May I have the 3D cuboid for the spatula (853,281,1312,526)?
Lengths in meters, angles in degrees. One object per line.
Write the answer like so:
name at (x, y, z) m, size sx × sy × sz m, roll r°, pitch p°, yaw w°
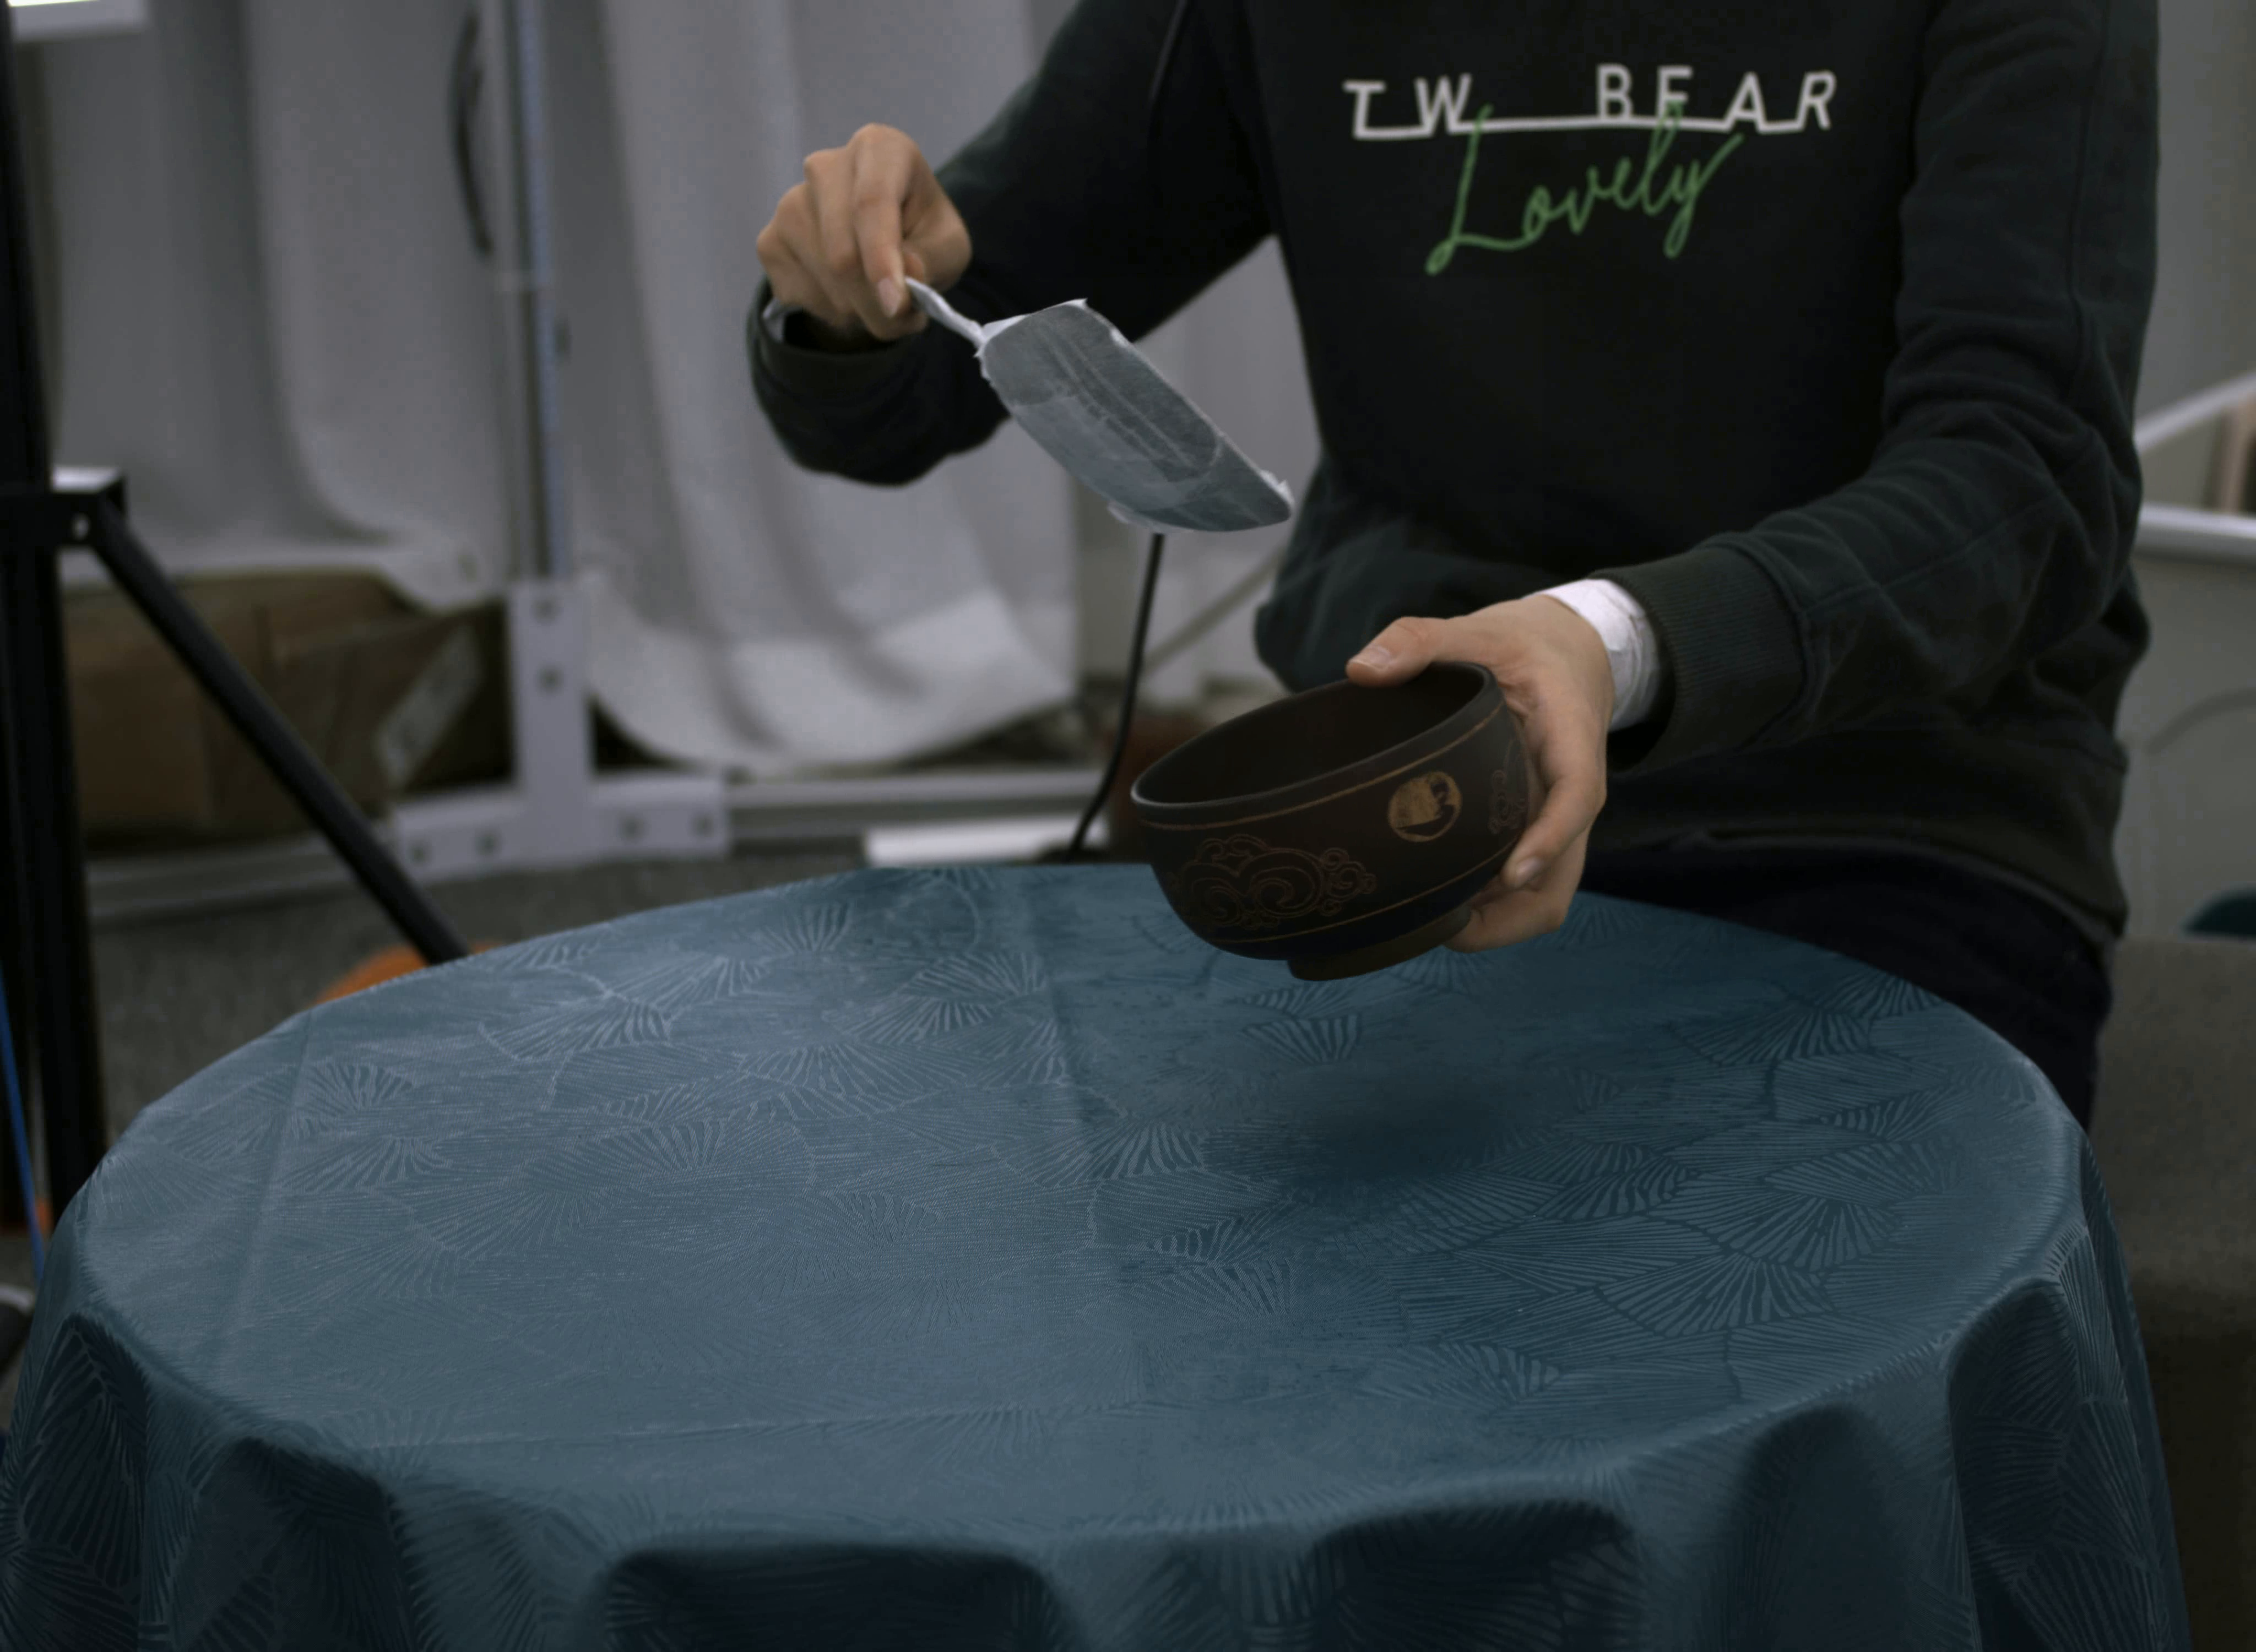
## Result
spatula at (-0.035, -0.153, 1.715) m, size 0.045 × 0.097 × 0.370 m, roll -48°, pitch 21°, yaw 0°

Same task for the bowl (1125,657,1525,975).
bowl at (0.063, 0.002, 1.578) m, size 0.118 × 0.070 × 0.118 m, roll -17°, pitch 13°, yaw 2°
